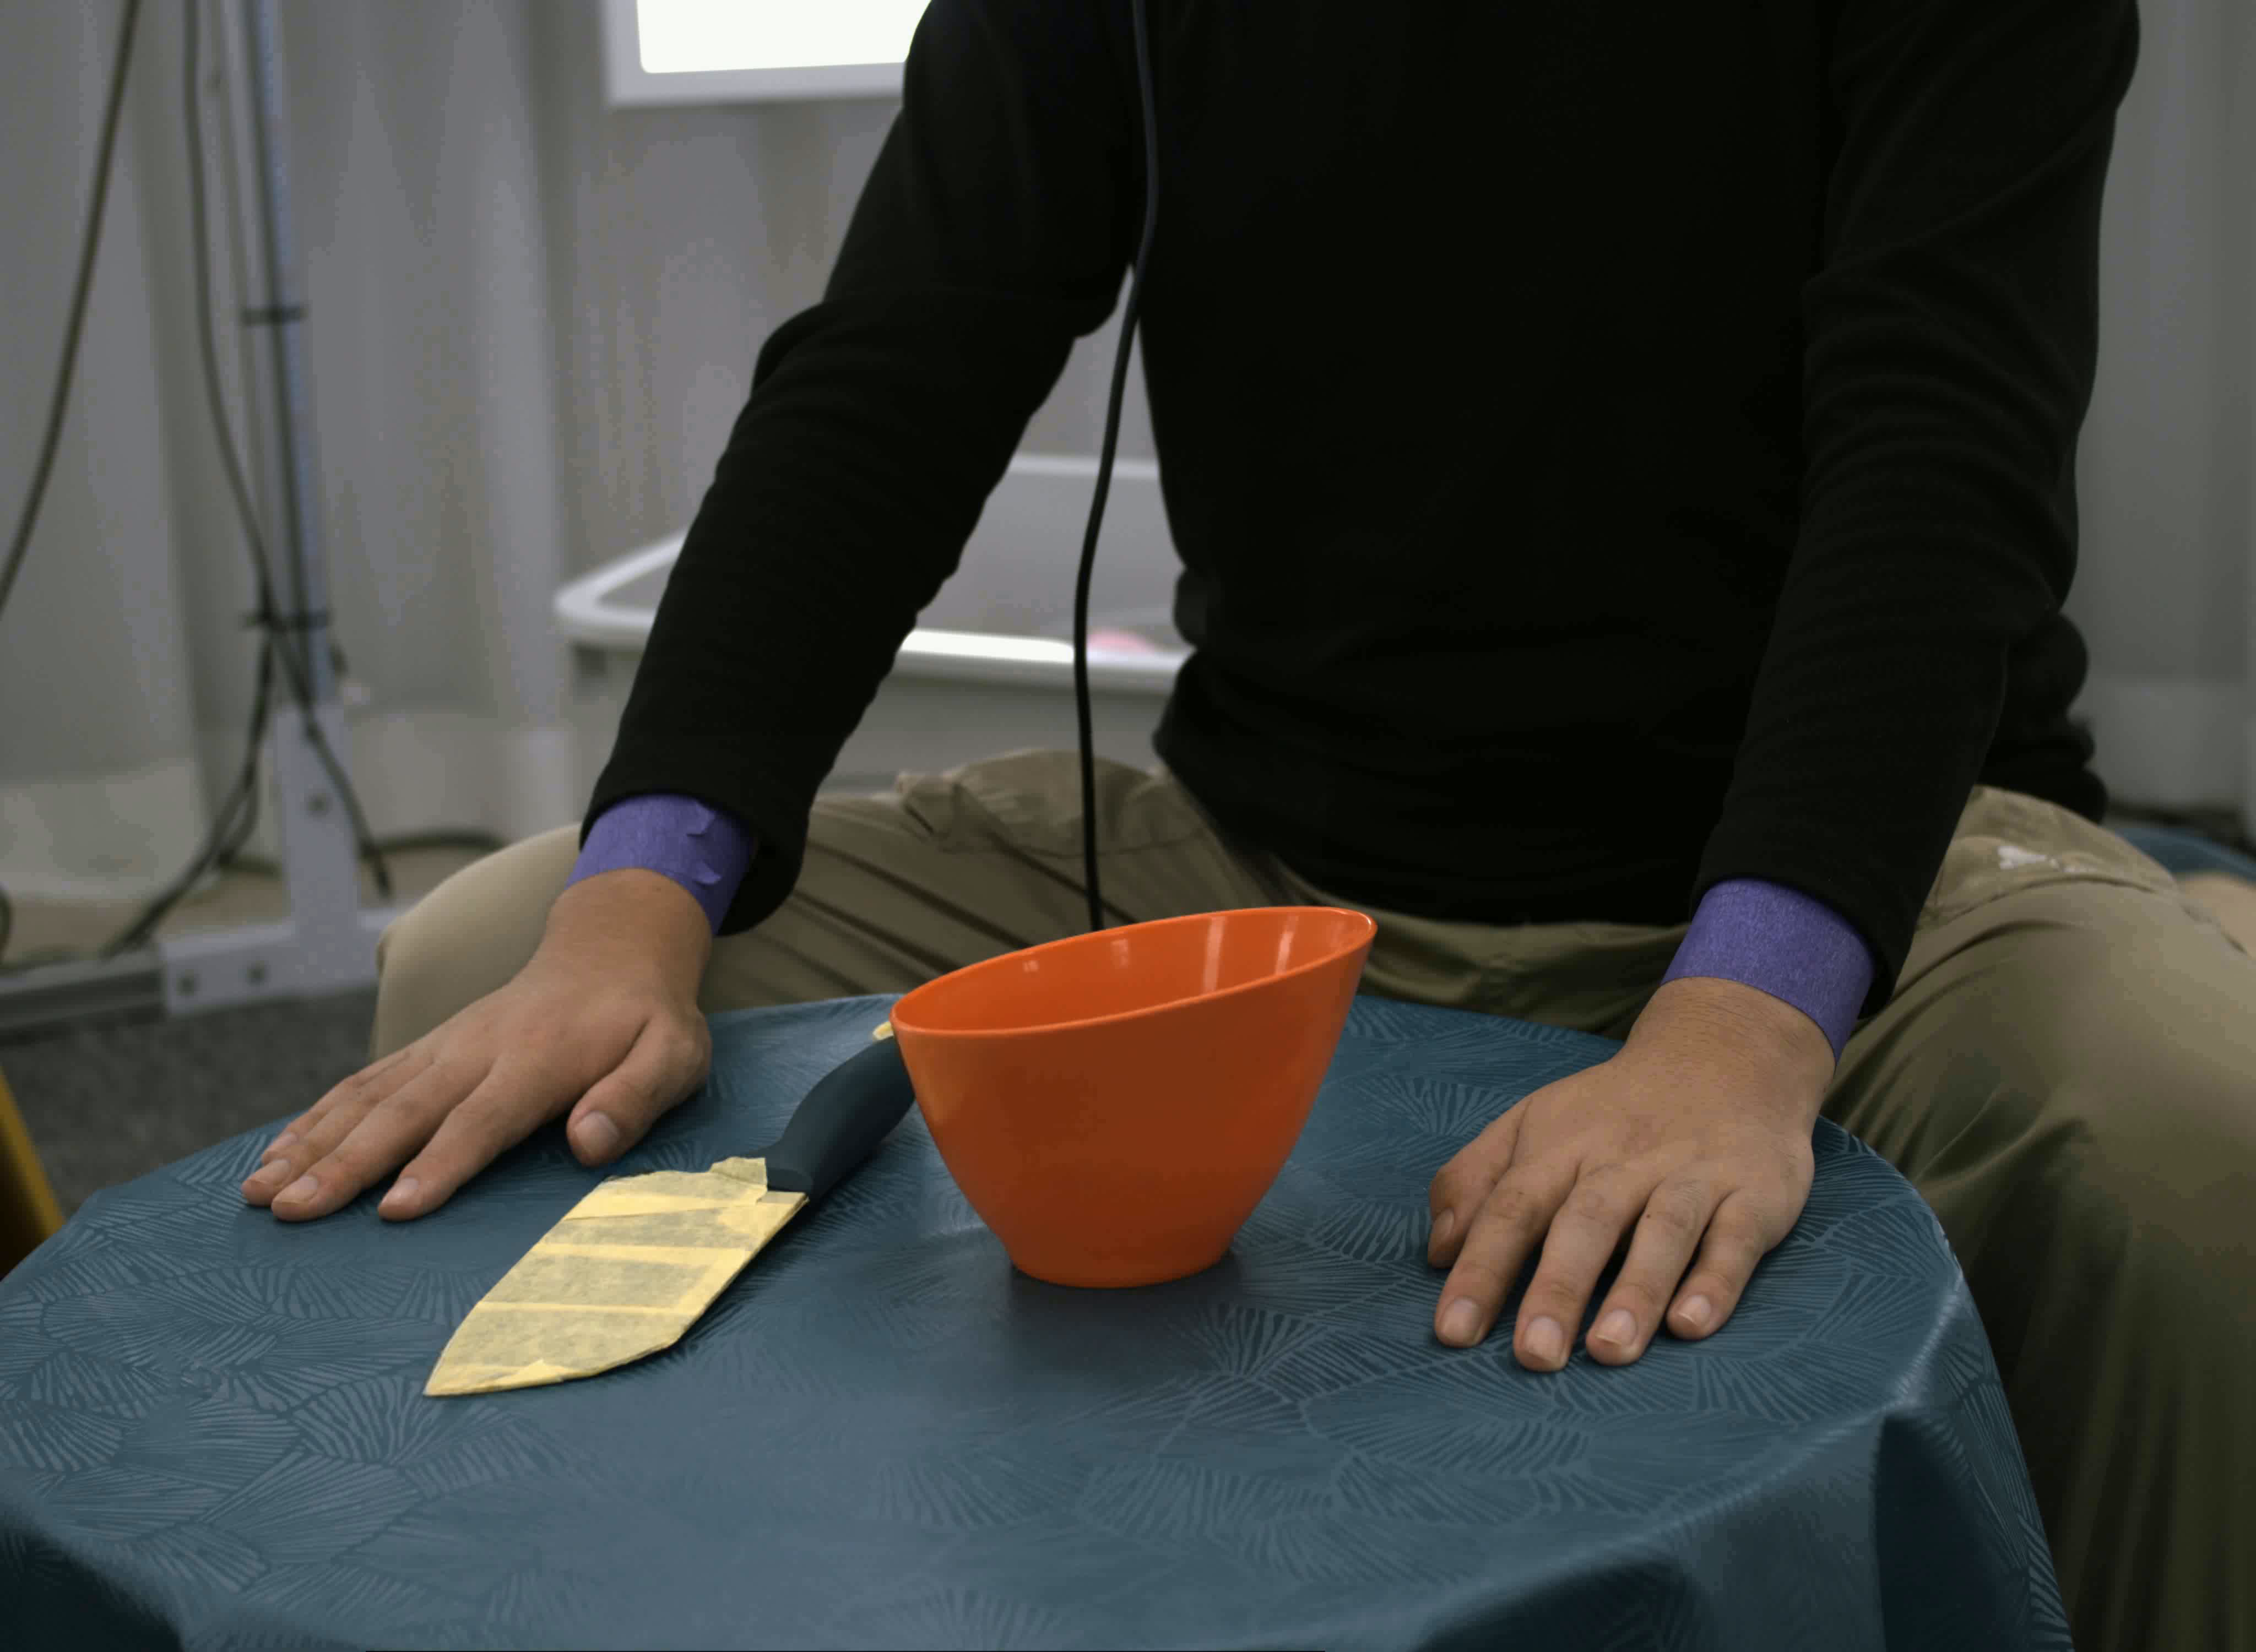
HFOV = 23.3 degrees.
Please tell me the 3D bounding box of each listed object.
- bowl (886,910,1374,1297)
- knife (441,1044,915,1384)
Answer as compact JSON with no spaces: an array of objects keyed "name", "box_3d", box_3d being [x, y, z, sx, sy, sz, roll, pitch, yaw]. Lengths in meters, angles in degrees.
[{"name":"bowl","box_3d":[0.002,0.083,1.639,0.147,0.104,0.149,-4,14,1]},{"name":"knife","box_3d":[-0.134,0.120,1.694,0.081,0.027,0.290,4,17,20]}]
